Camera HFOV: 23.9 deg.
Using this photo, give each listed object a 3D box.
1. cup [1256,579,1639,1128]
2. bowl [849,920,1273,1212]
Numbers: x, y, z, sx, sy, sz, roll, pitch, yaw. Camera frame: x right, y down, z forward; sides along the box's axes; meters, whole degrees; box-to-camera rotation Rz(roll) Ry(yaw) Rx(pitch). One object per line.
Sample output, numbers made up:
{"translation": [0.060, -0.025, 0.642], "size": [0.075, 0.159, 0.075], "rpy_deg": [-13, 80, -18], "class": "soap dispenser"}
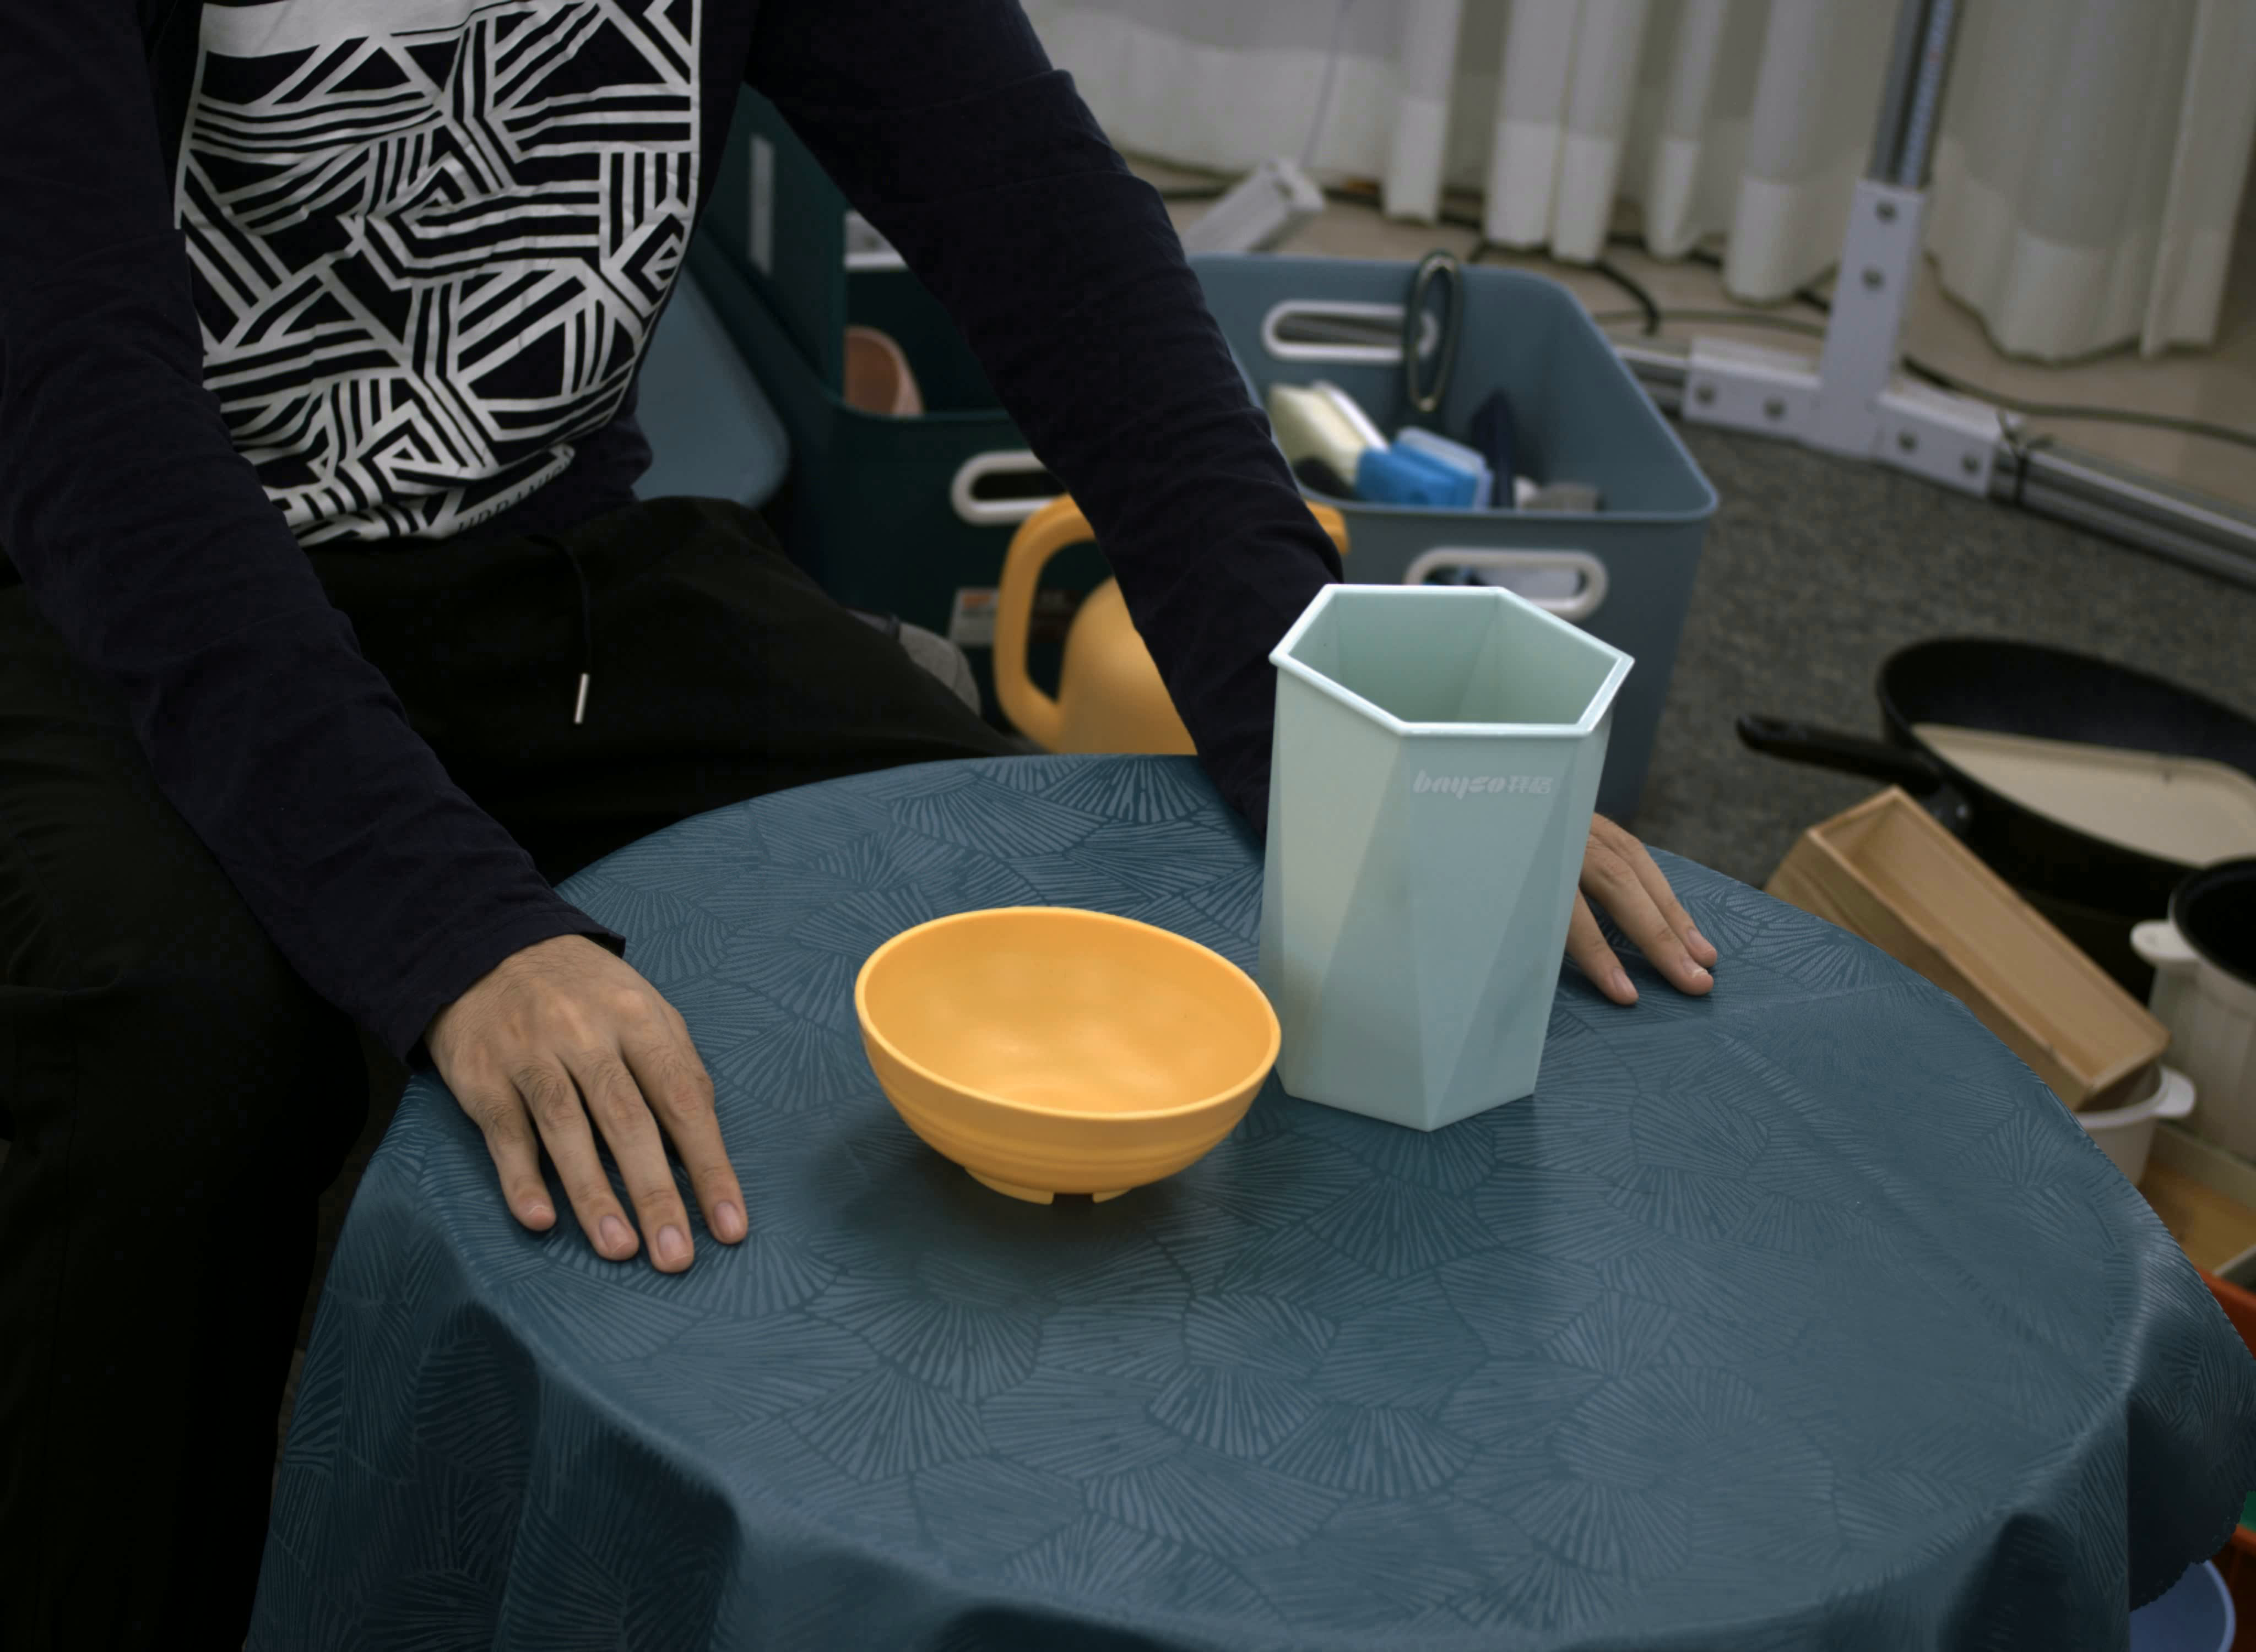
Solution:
{"translation": [0.106, 0.011, 1.871], "size": [0.130, 0.162, 0.116], "rpy_deg": [0, 26, -14], "class": "cup"}
{"translation": [-0.026, 0.090, 1.809], "size": [0.145, 0.060, 0.146], "rpy_deg": [5, 24, -3], "class": "bowl"}
